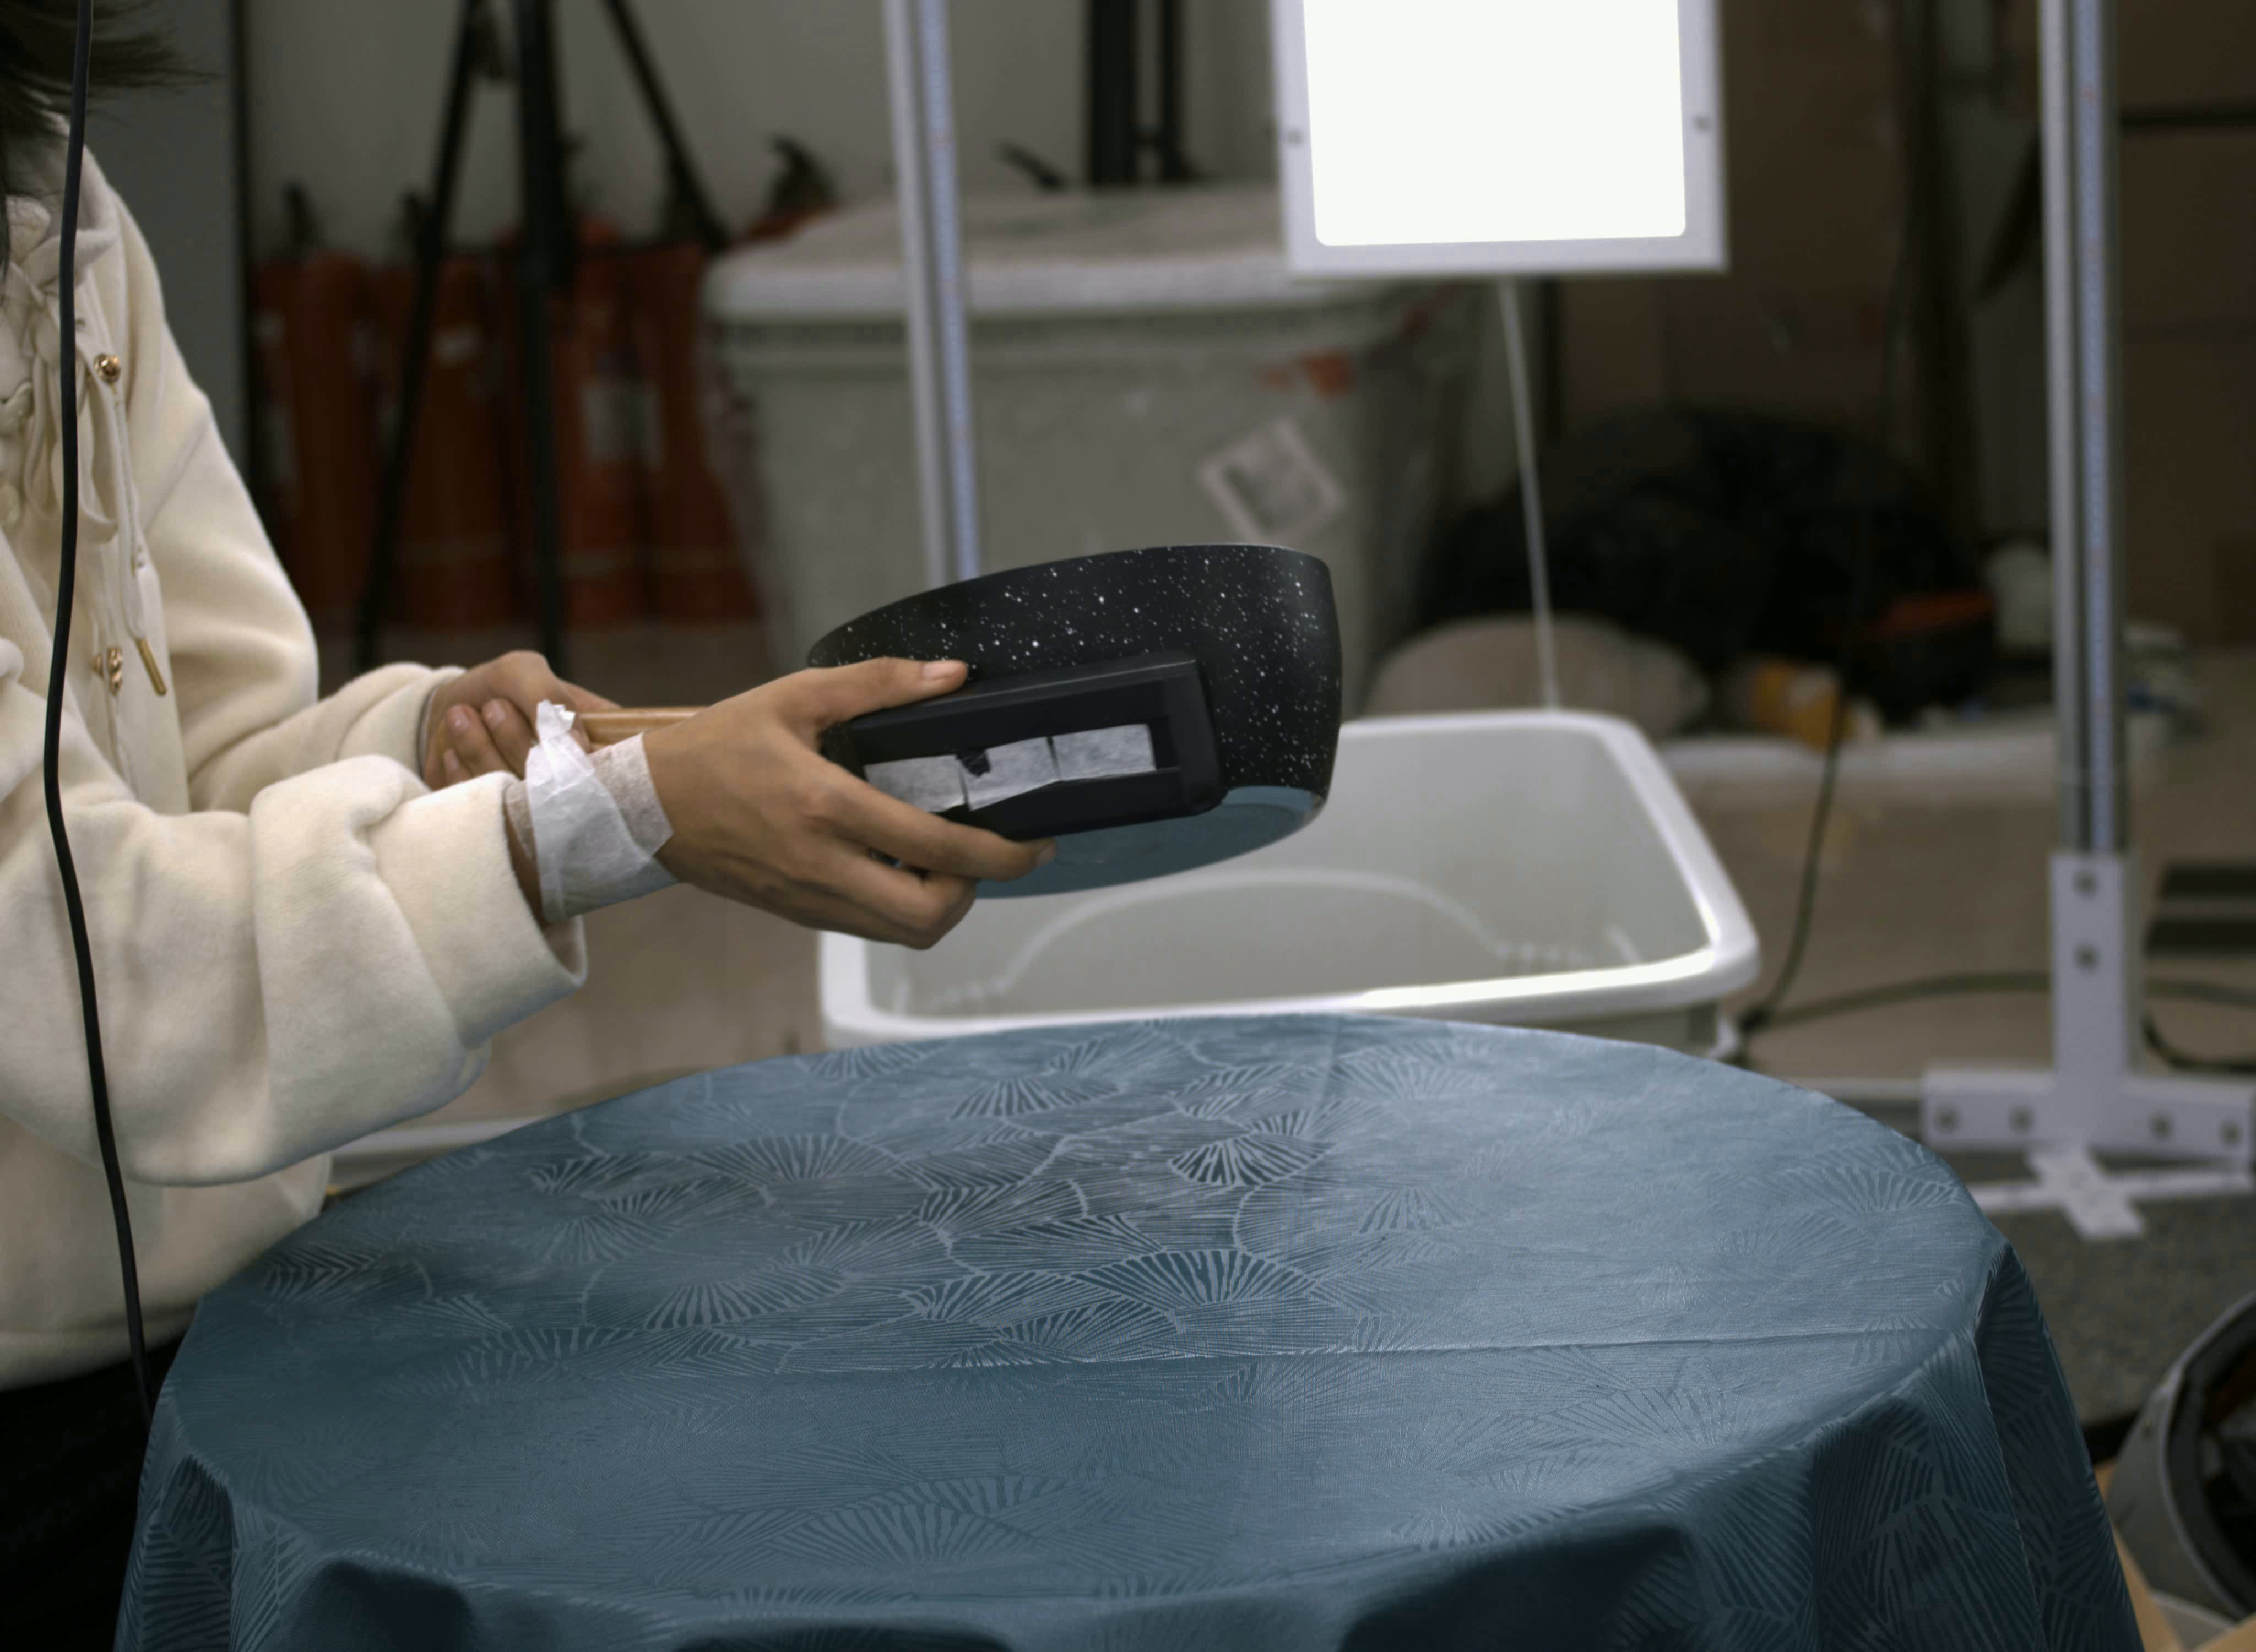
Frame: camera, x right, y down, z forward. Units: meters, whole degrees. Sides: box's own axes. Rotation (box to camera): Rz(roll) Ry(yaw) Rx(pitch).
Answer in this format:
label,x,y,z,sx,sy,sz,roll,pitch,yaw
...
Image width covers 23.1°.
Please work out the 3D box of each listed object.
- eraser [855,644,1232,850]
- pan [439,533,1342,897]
label,x,y,z,sx,sy,sz,roll,pitch,yaw
eraser,-0.027,-0.026,1.788,0.128,0.053,0.030,-7,11,33
pan,-0.088,-0.026,1.927,0.348,0.108,0.204,-13,-11,22
